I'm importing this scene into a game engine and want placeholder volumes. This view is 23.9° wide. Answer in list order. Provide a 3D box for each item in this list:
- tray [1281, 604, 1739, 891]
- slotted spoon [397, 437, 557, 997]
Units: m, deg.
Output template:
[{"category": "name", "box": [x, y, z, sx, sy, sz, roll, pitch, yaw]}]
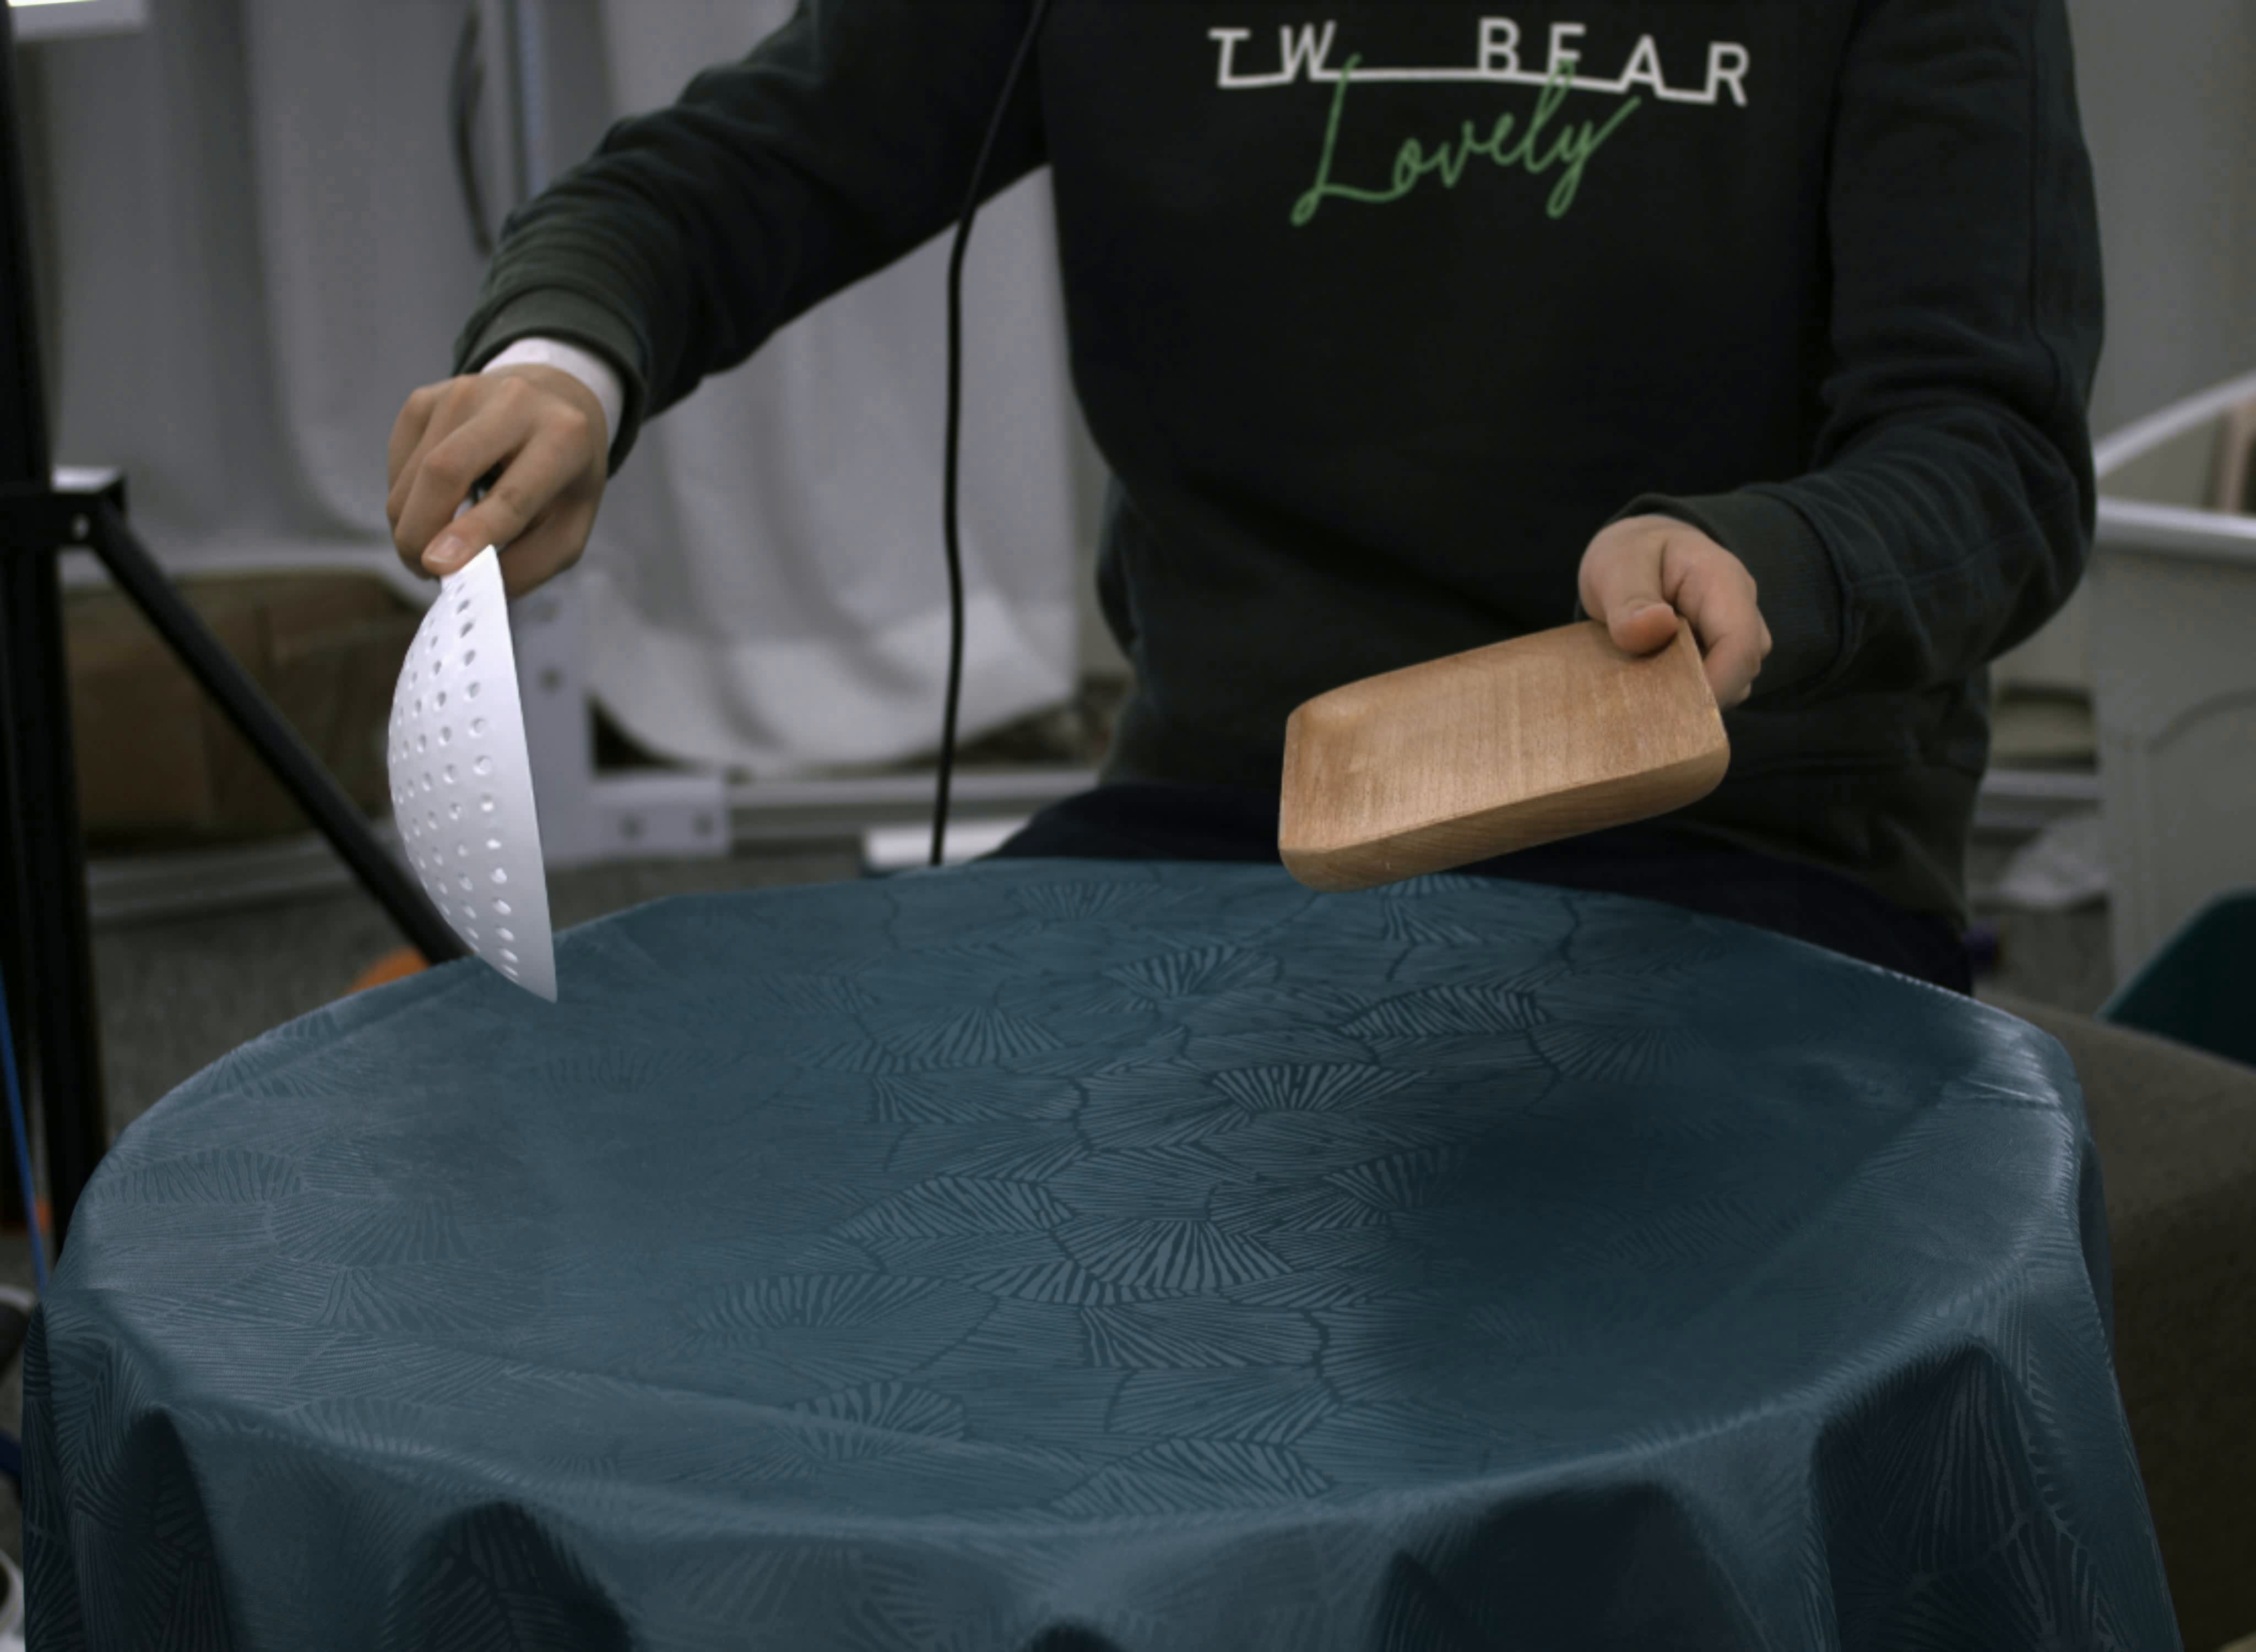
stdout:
[{"category": "tray", "box": [0.108, -0.024, 1.542, 0.130, 0.023, 0.250, -13, 10, 6]}, {"category": "slotted spoon", "box": [-0.203, -0.057, 1.677, 0.045, 0.136, 0.353, -4, 23, -4]}]
